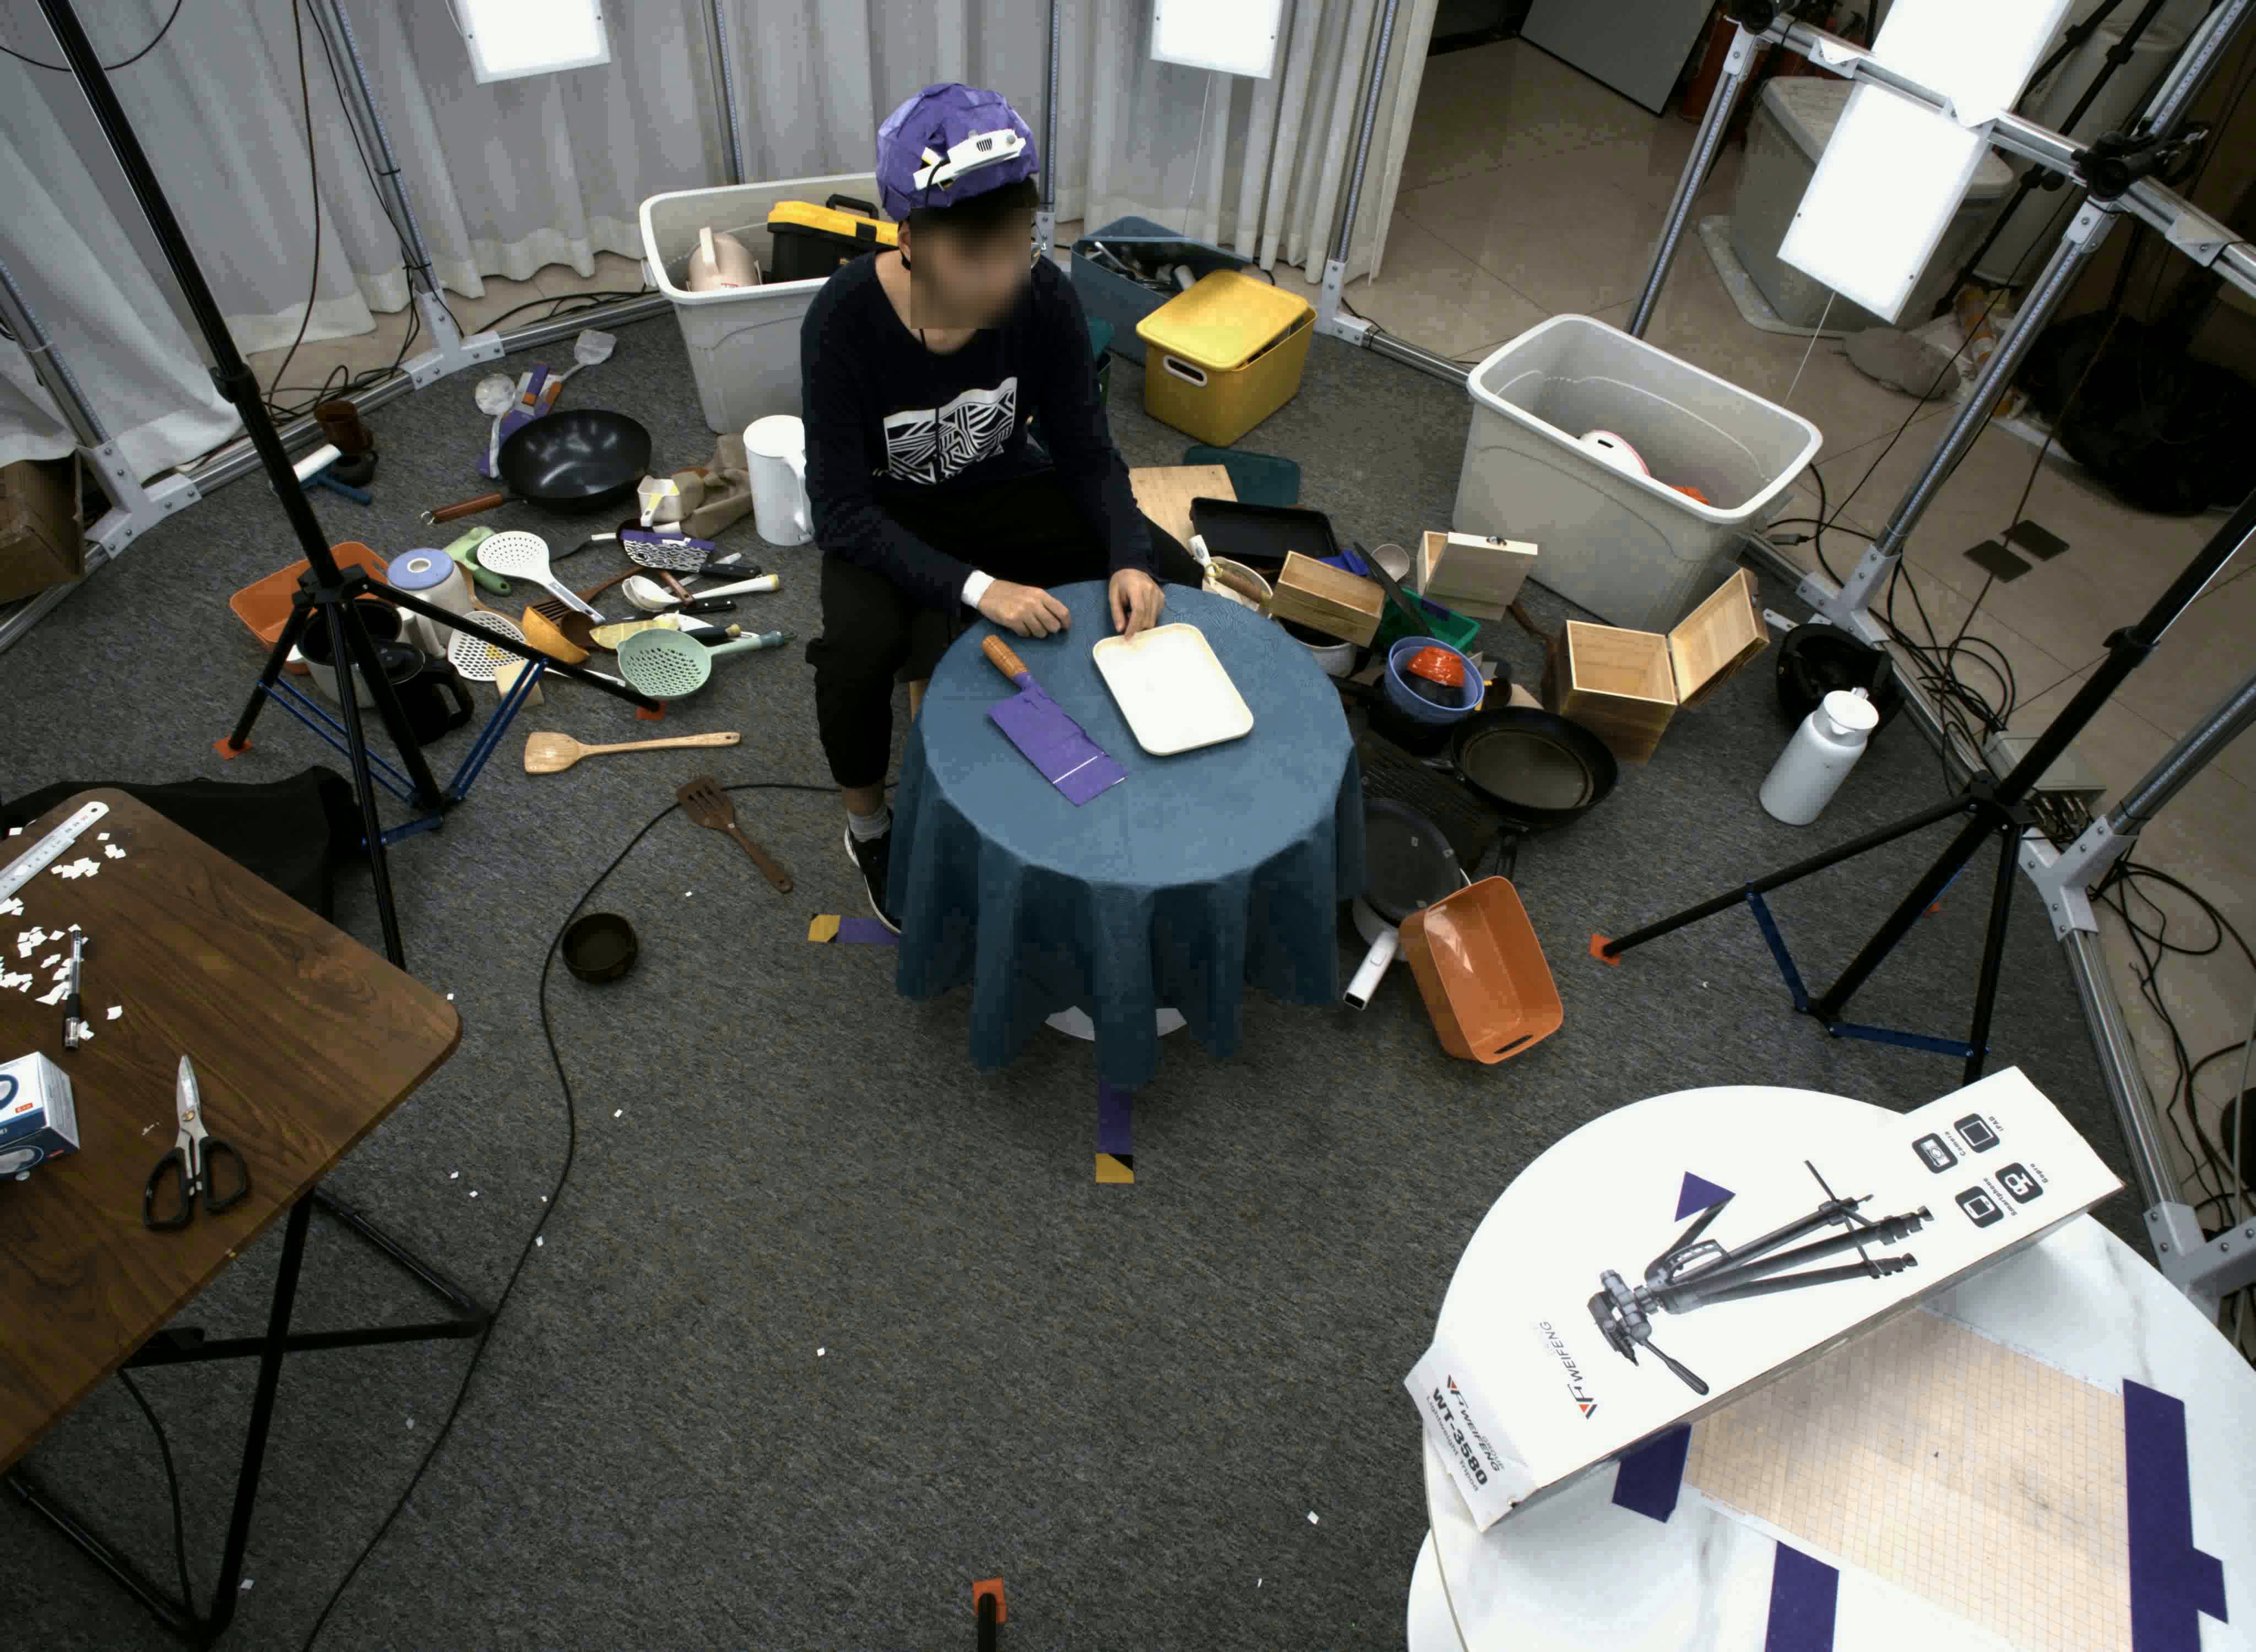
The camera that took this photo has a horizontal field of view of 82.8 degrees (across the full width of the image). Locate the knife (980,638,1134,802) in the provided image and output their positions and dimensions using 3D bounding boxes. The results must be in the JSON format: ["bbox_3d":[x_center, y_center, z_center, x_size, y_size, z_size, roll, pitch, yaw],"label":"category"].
[{"bbox_3d":[-0.127,-0.150,1.772,0.104,0.031,0.321,-30,58,-26],"label":"knife"}]

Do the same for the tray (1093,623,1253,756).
[{"bbox_3d":[0.062,-0.197,1.830,0.171,0.017,0.245,-15,52,-15],"label":"tray"}]
